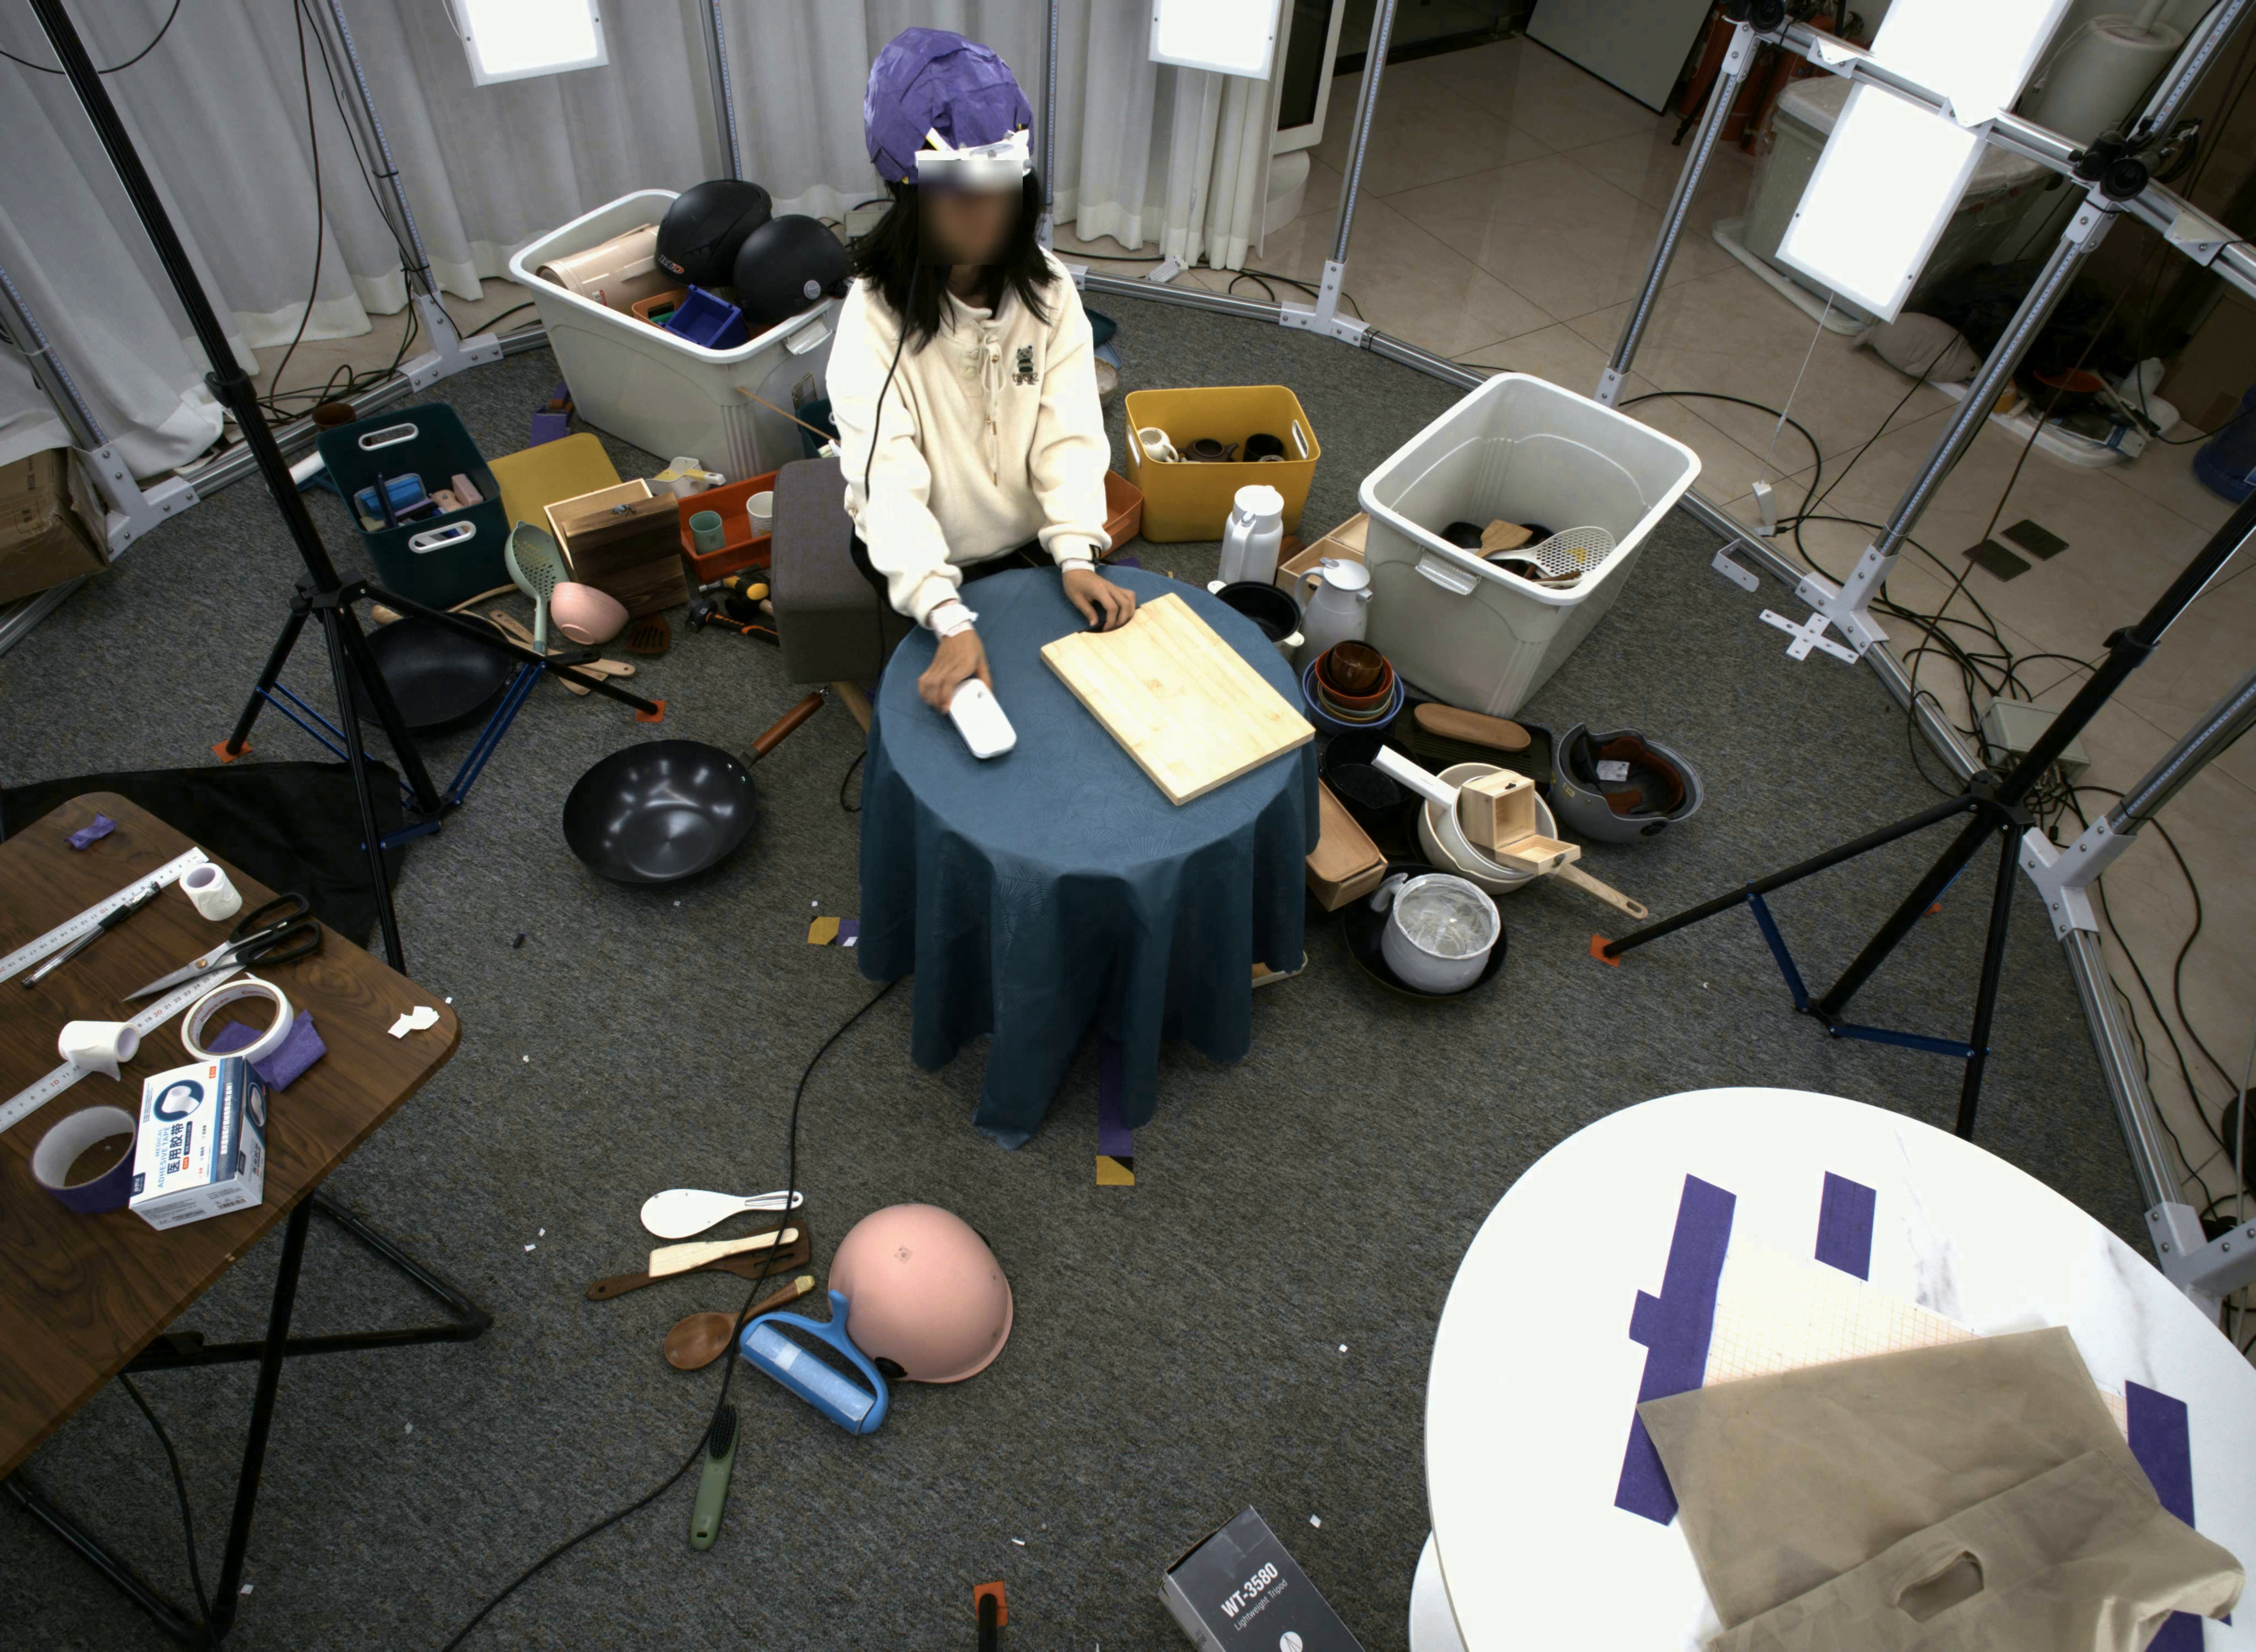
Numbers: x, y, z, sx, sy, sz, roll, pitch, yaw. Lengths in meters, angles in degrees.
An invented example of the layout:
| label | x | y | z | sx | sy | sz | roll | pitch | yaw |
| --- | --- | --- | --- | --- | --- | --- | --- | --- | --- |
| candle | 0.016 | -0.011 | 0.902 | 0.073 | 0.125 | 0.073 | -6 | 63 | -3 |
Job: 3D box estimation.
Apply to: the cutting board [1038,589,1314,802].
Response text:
| label | x | y | z | sx | sy | sz | roll | pitch | yaw |
| --- | --- | --- | --- | --- | --- | --- | --- | --- | --- |
| cutting board | 0.063 | -0.195 | 1.833 | 0.252 | 0.023 | 0.355 | -27 | 56 | -24 |

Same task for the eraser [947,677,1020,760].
| label | x | y | z | sx | sy | sz | roll | pitch | yaw |
| --- | --- | --- | --- | --- | --- | --- | --- | --- | --- |
| eraser | -0.198 | -0.150 | 1.758 | 0.063 | 0.034 | 0.134 | -18 | 58 | -21 |
